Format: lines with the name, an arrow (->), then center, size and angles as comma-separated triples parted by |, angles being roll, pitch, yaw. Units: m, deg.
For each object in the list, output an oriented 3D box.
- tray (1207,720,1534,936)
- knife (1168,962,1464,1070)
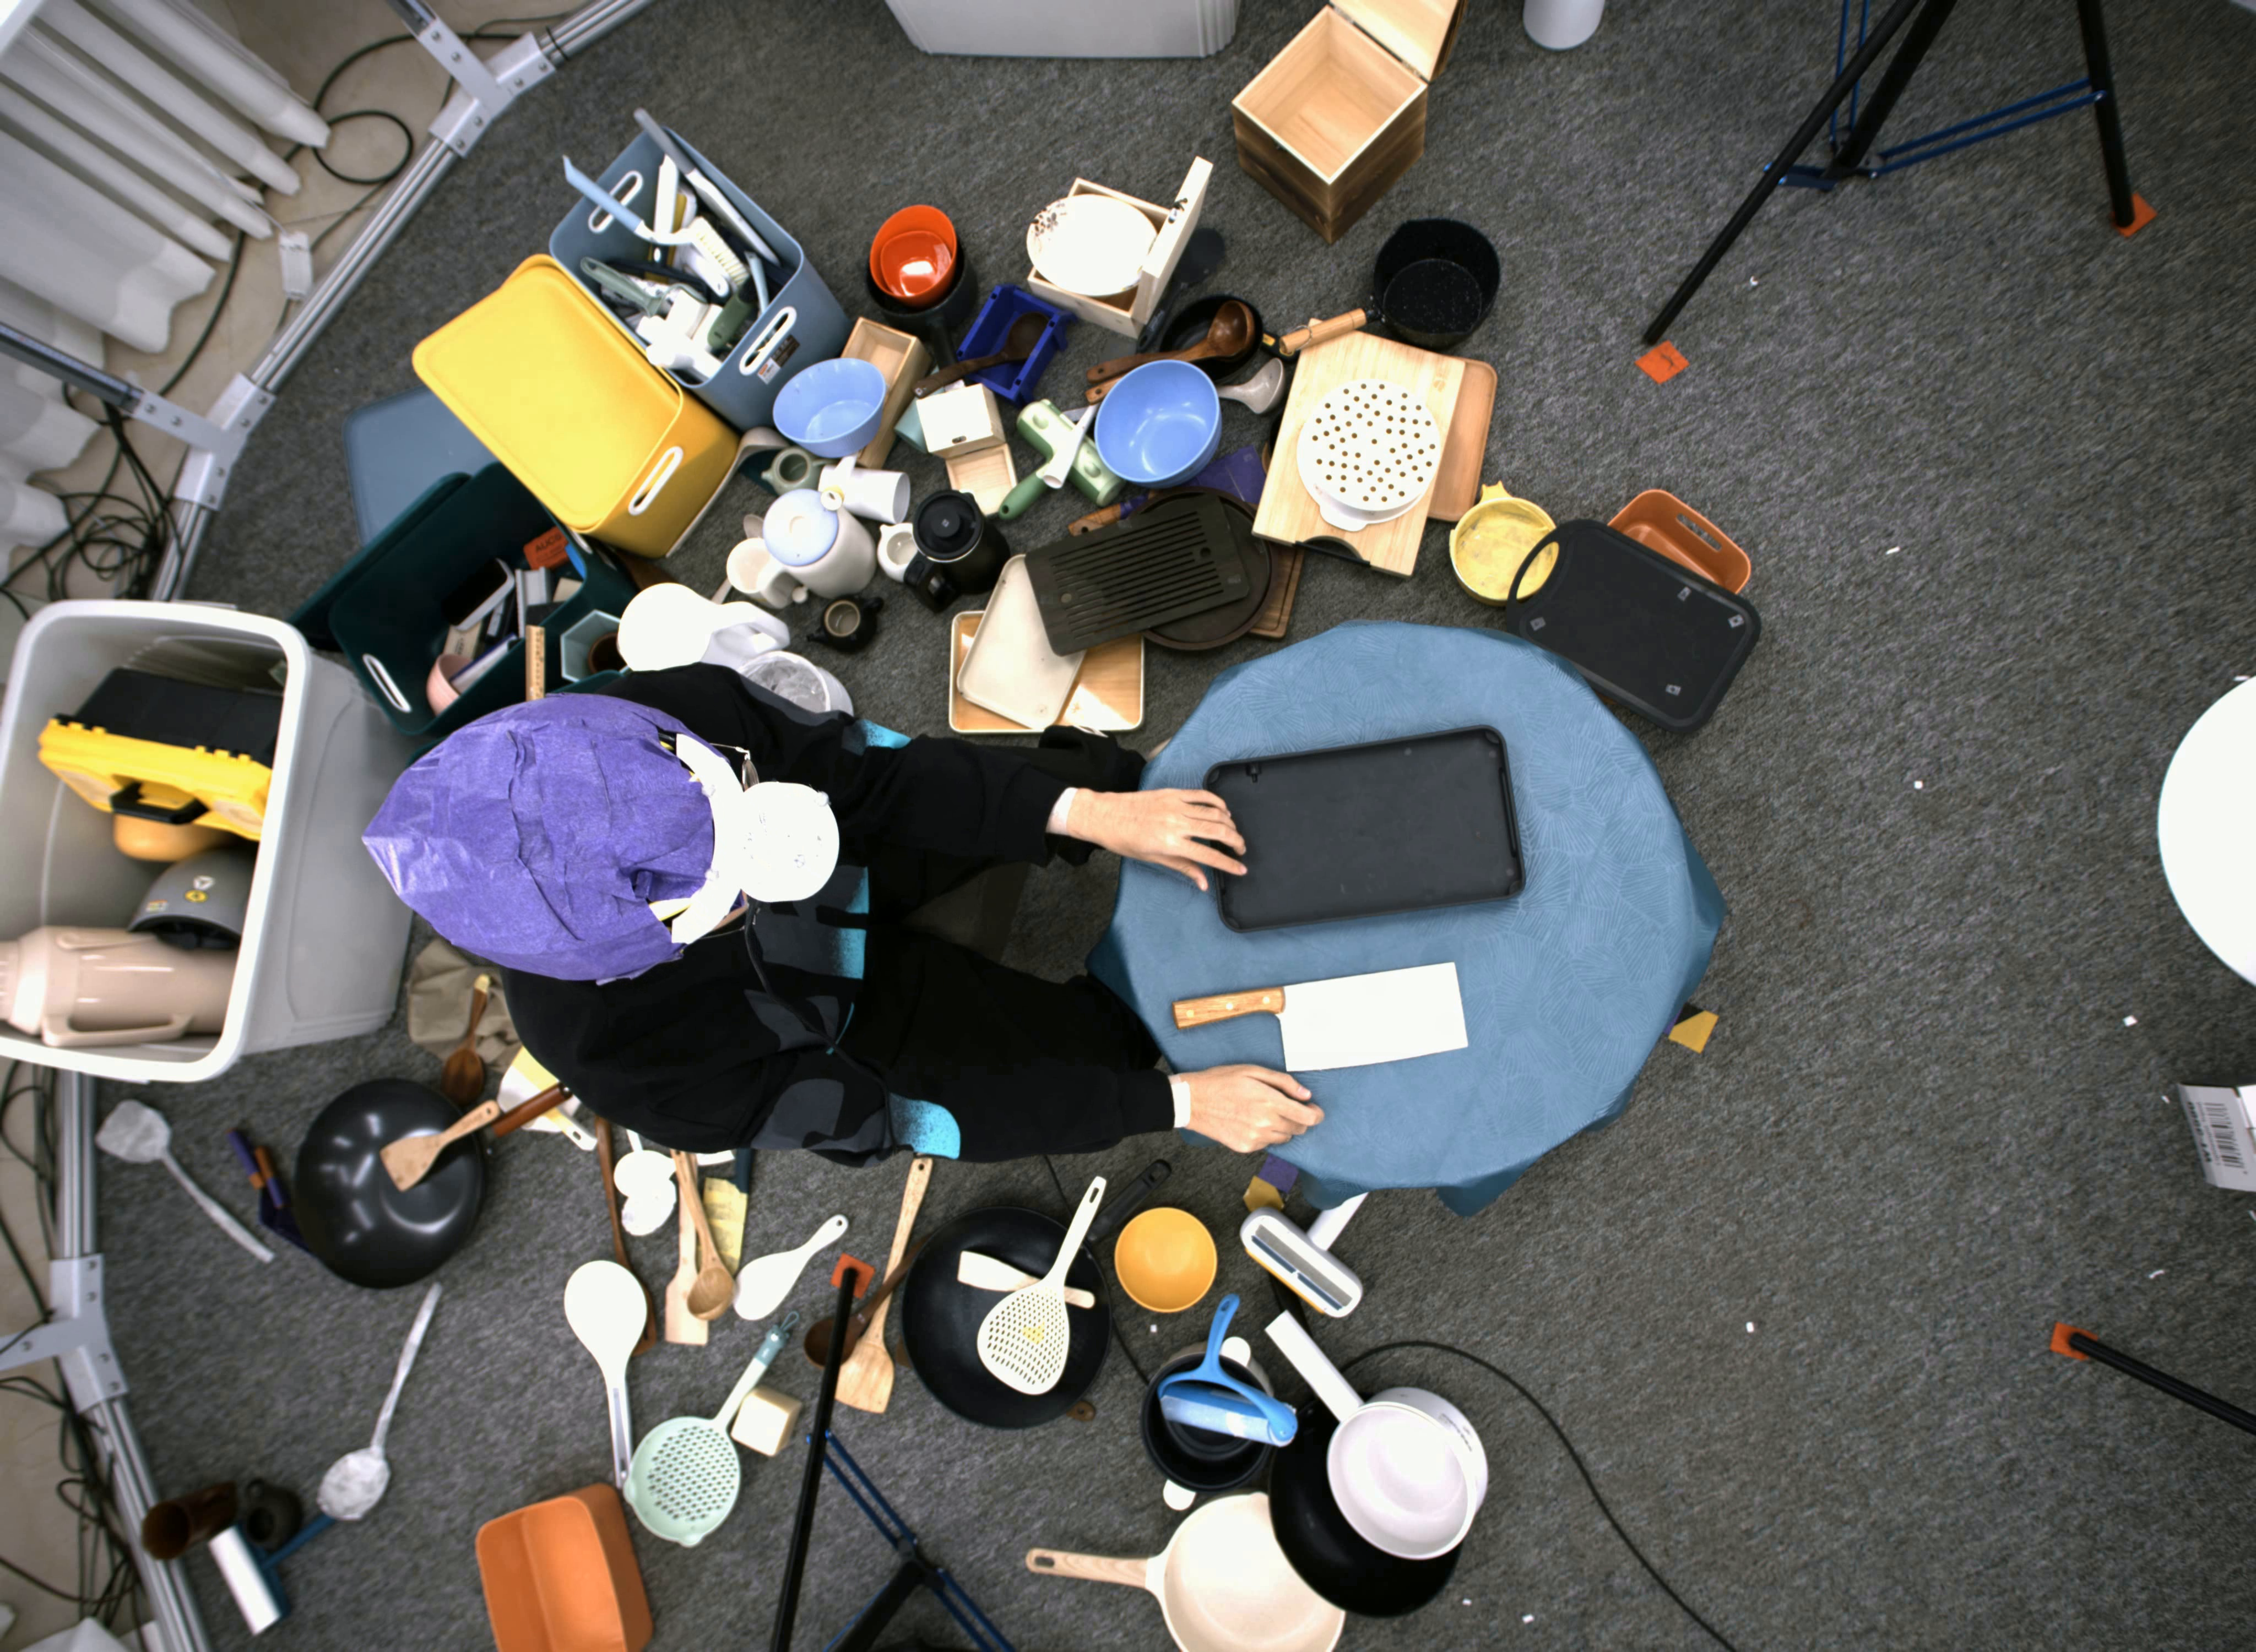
tray -> 0.251, 0.003, 1.449 | 0.319, 0.037, 0.183 | -10, 85, 10
knife -> 0.198, 0.206, 1.458 | 0.307, 0.021, 0.092 | -9, 87, 8
